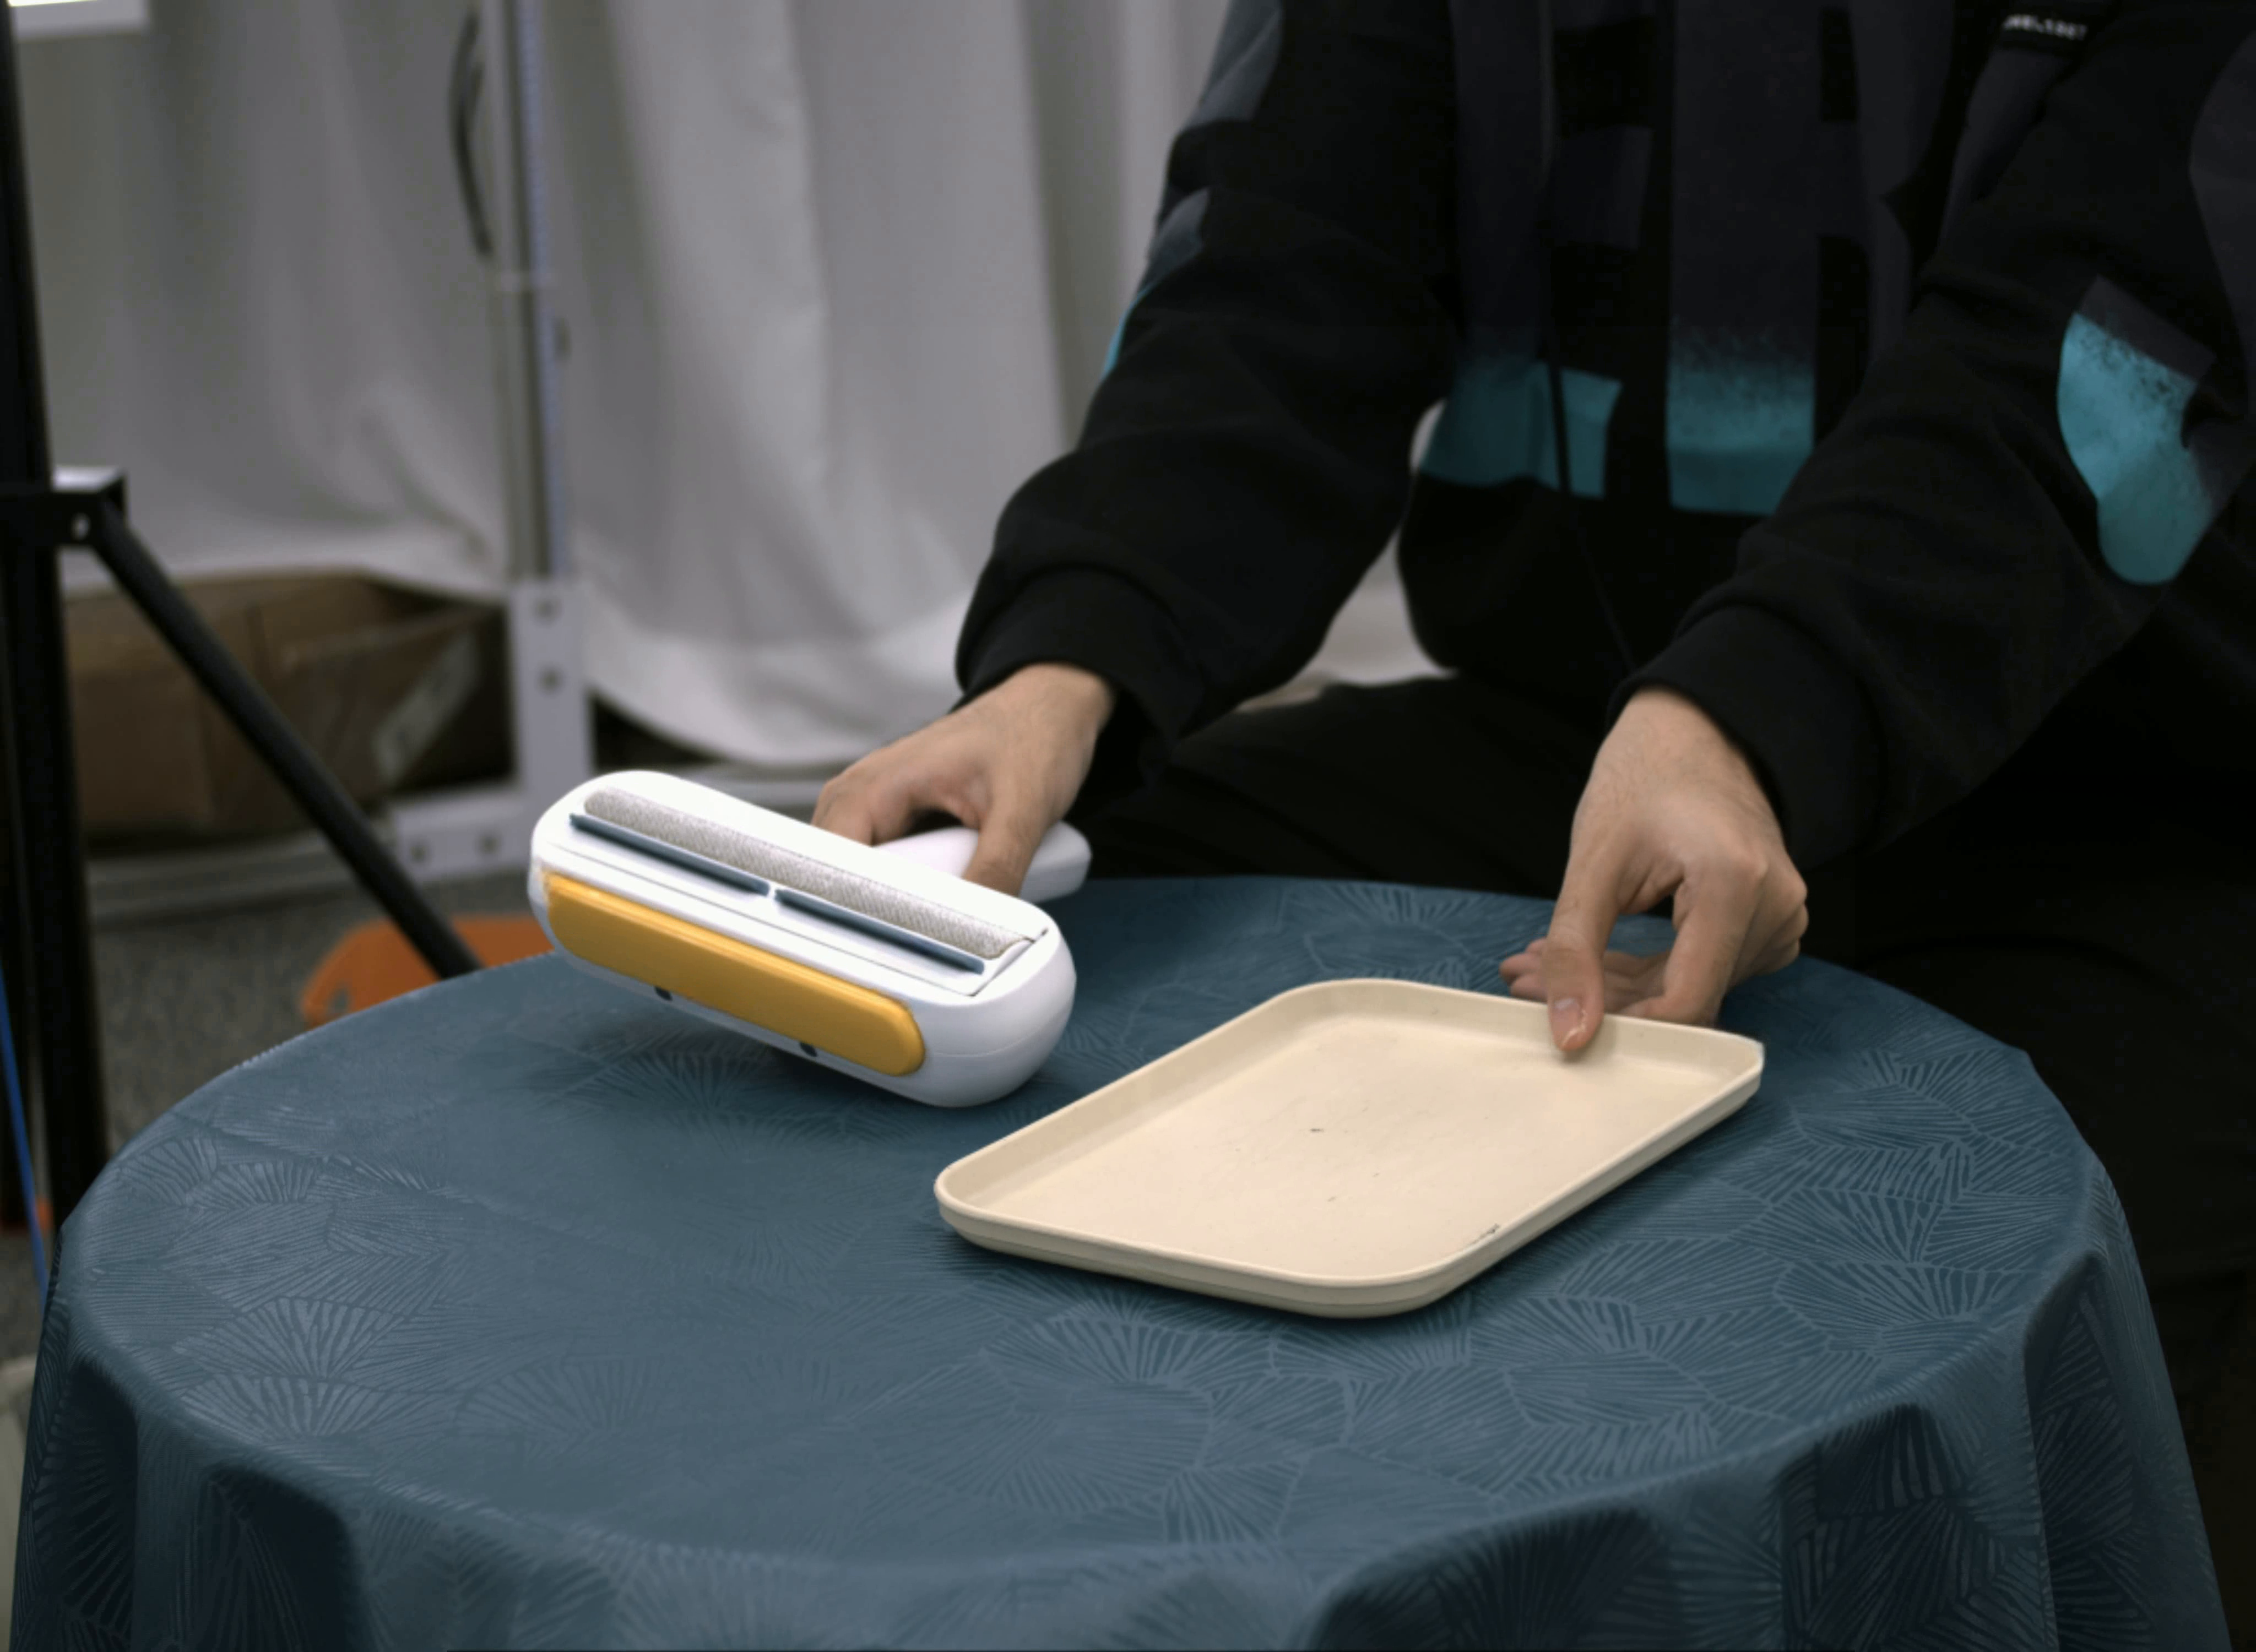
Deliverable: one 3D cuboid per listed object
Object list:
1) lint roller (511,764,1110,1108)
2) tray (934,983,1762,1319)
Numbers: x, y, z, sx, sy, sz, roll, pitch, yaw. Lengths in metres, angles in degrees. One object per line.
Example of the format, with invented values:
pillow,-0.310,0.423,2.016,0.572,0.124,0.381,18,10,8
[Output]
lint roller,-0.075,0.021,1.731,0.197,0.074,0.189,17,30,35
tray,0.068,0.094,1.563,0.175,0.017,0.235,8,19,35
